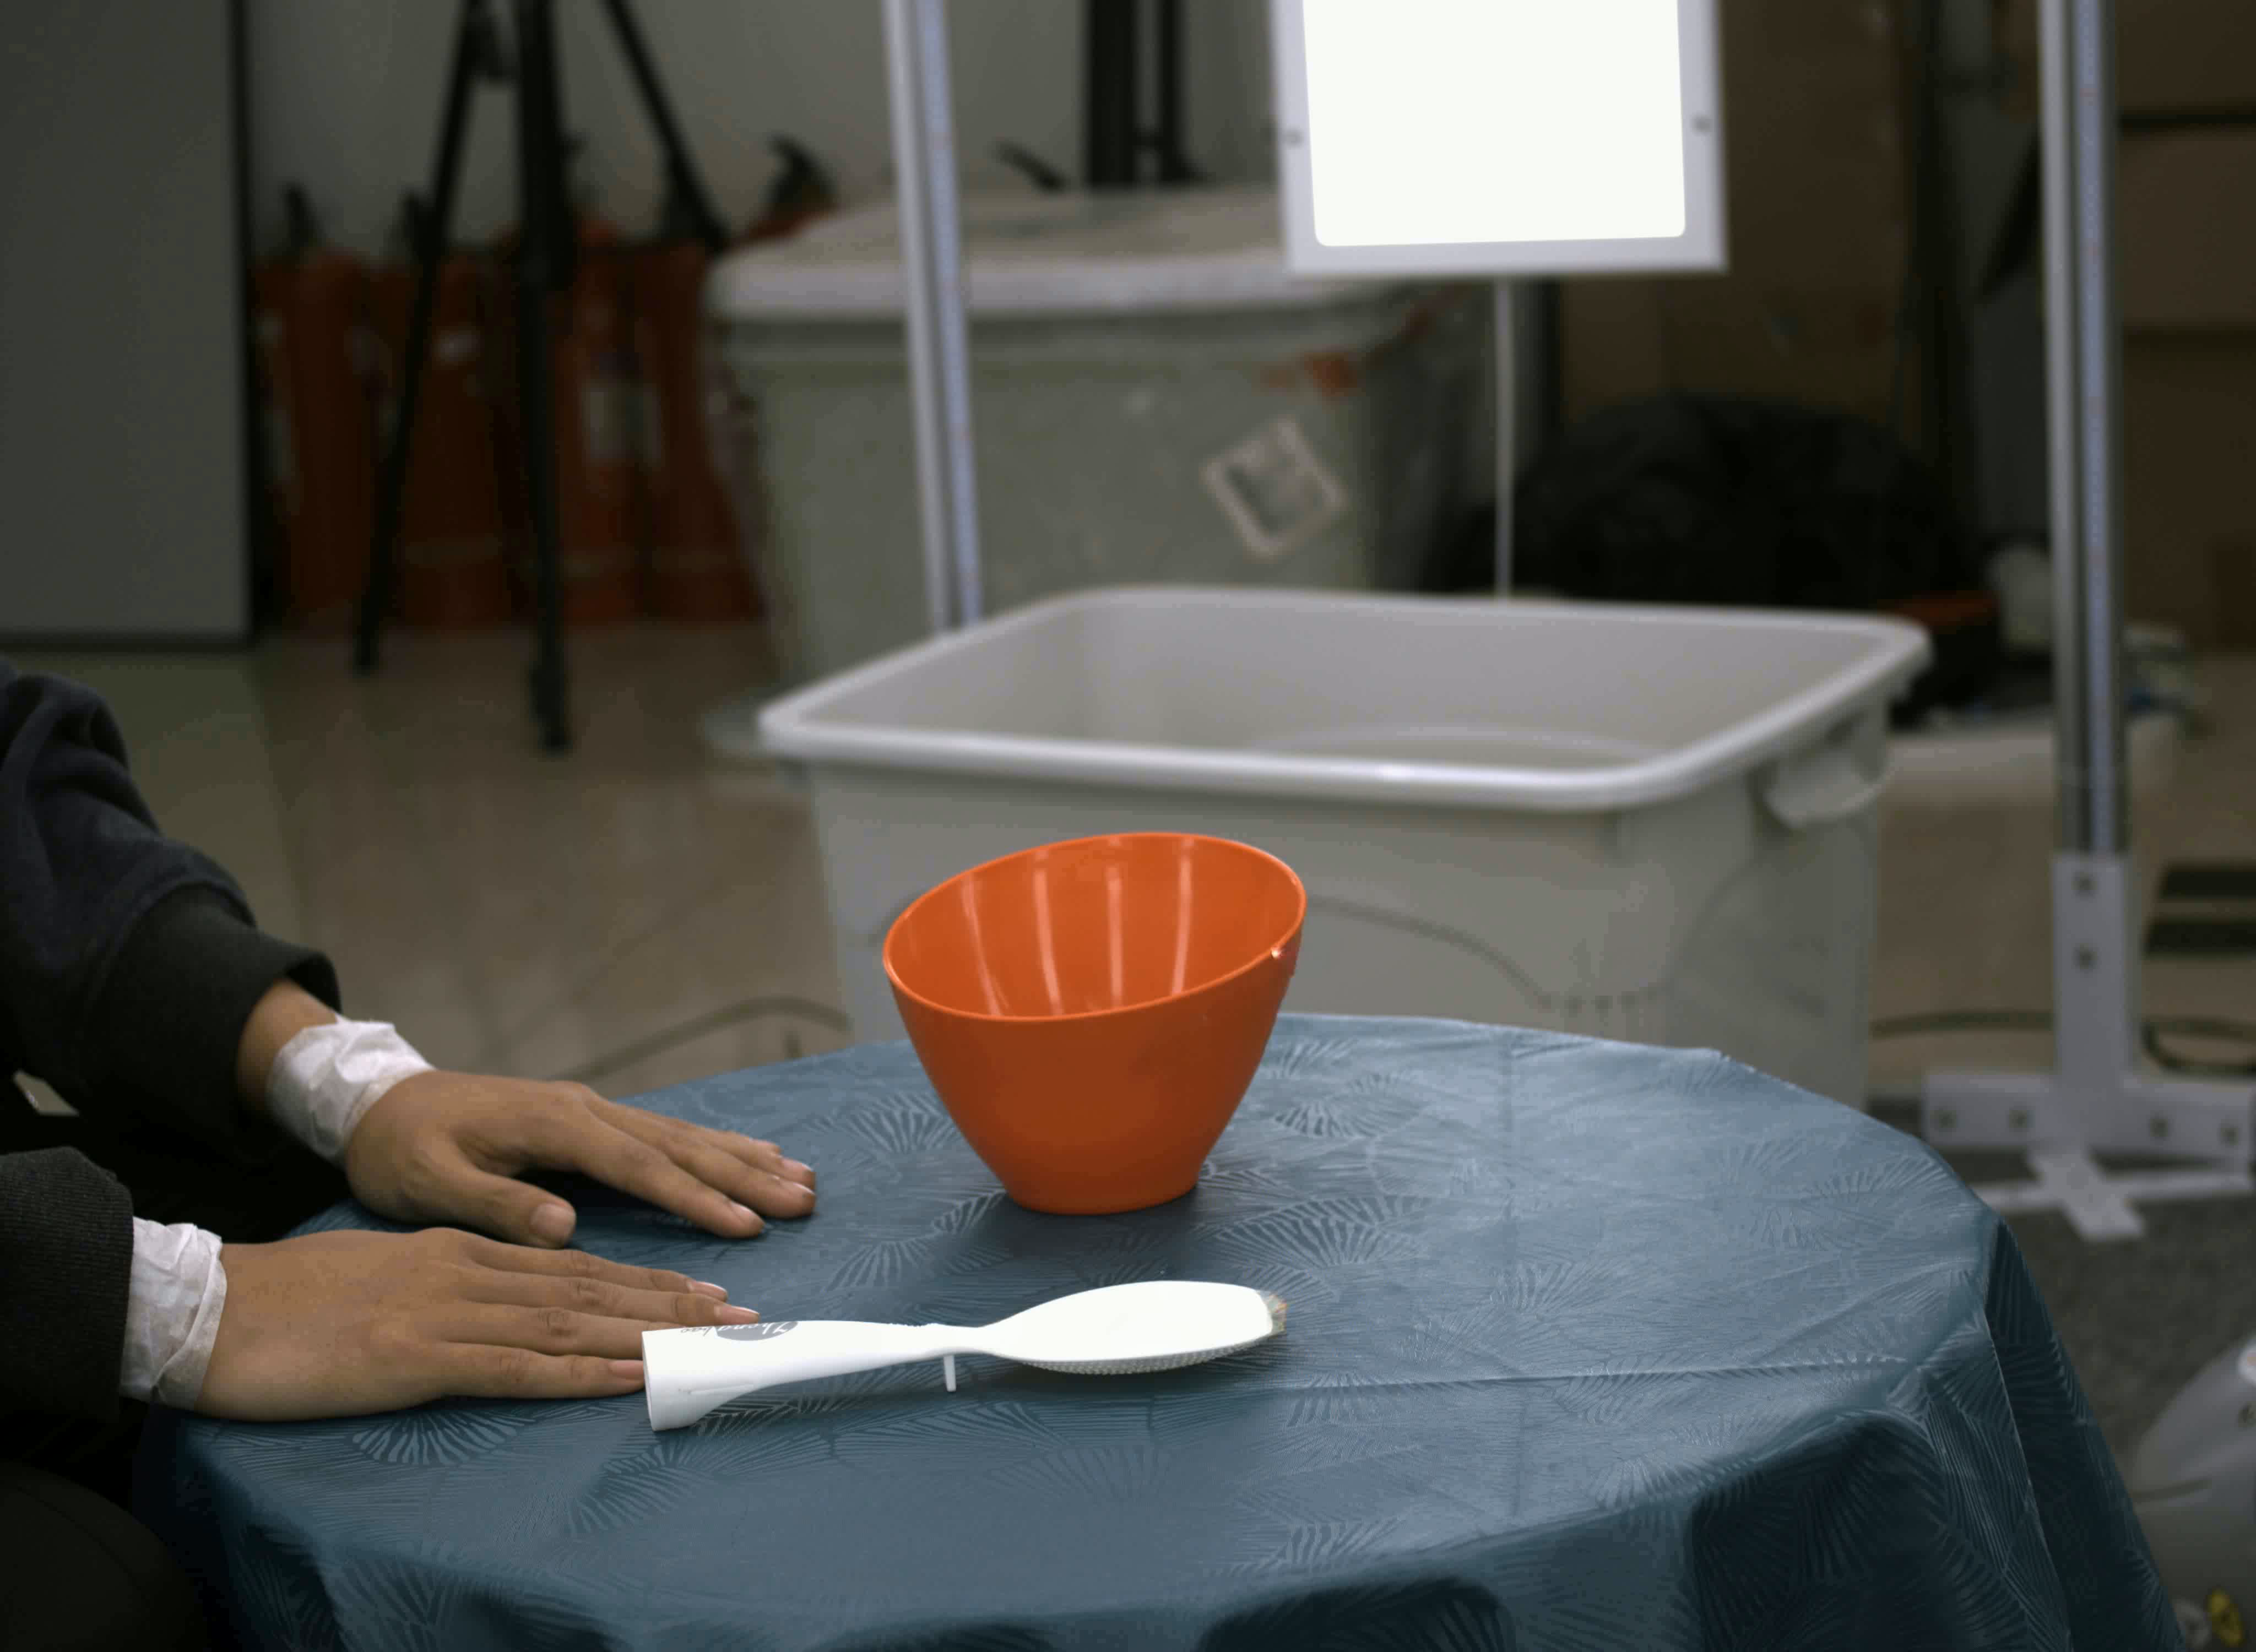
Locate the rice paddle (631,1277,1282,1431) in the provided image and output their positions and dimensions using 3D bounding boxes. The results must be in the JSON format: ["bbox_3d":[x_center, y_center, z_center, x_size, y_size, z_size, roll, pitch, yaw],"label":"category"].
[{"bbox_3d":[-0.052,0.160,1.717,0.203,0.029,0.069,-7,15,-6],"label":"rice paddle"}]

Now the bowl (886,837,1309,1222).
[{"bbox_3d":[-0.008,0.074,1.904,0.147,0.105,0.148,-5,15,0],"label":"bowl"}]
